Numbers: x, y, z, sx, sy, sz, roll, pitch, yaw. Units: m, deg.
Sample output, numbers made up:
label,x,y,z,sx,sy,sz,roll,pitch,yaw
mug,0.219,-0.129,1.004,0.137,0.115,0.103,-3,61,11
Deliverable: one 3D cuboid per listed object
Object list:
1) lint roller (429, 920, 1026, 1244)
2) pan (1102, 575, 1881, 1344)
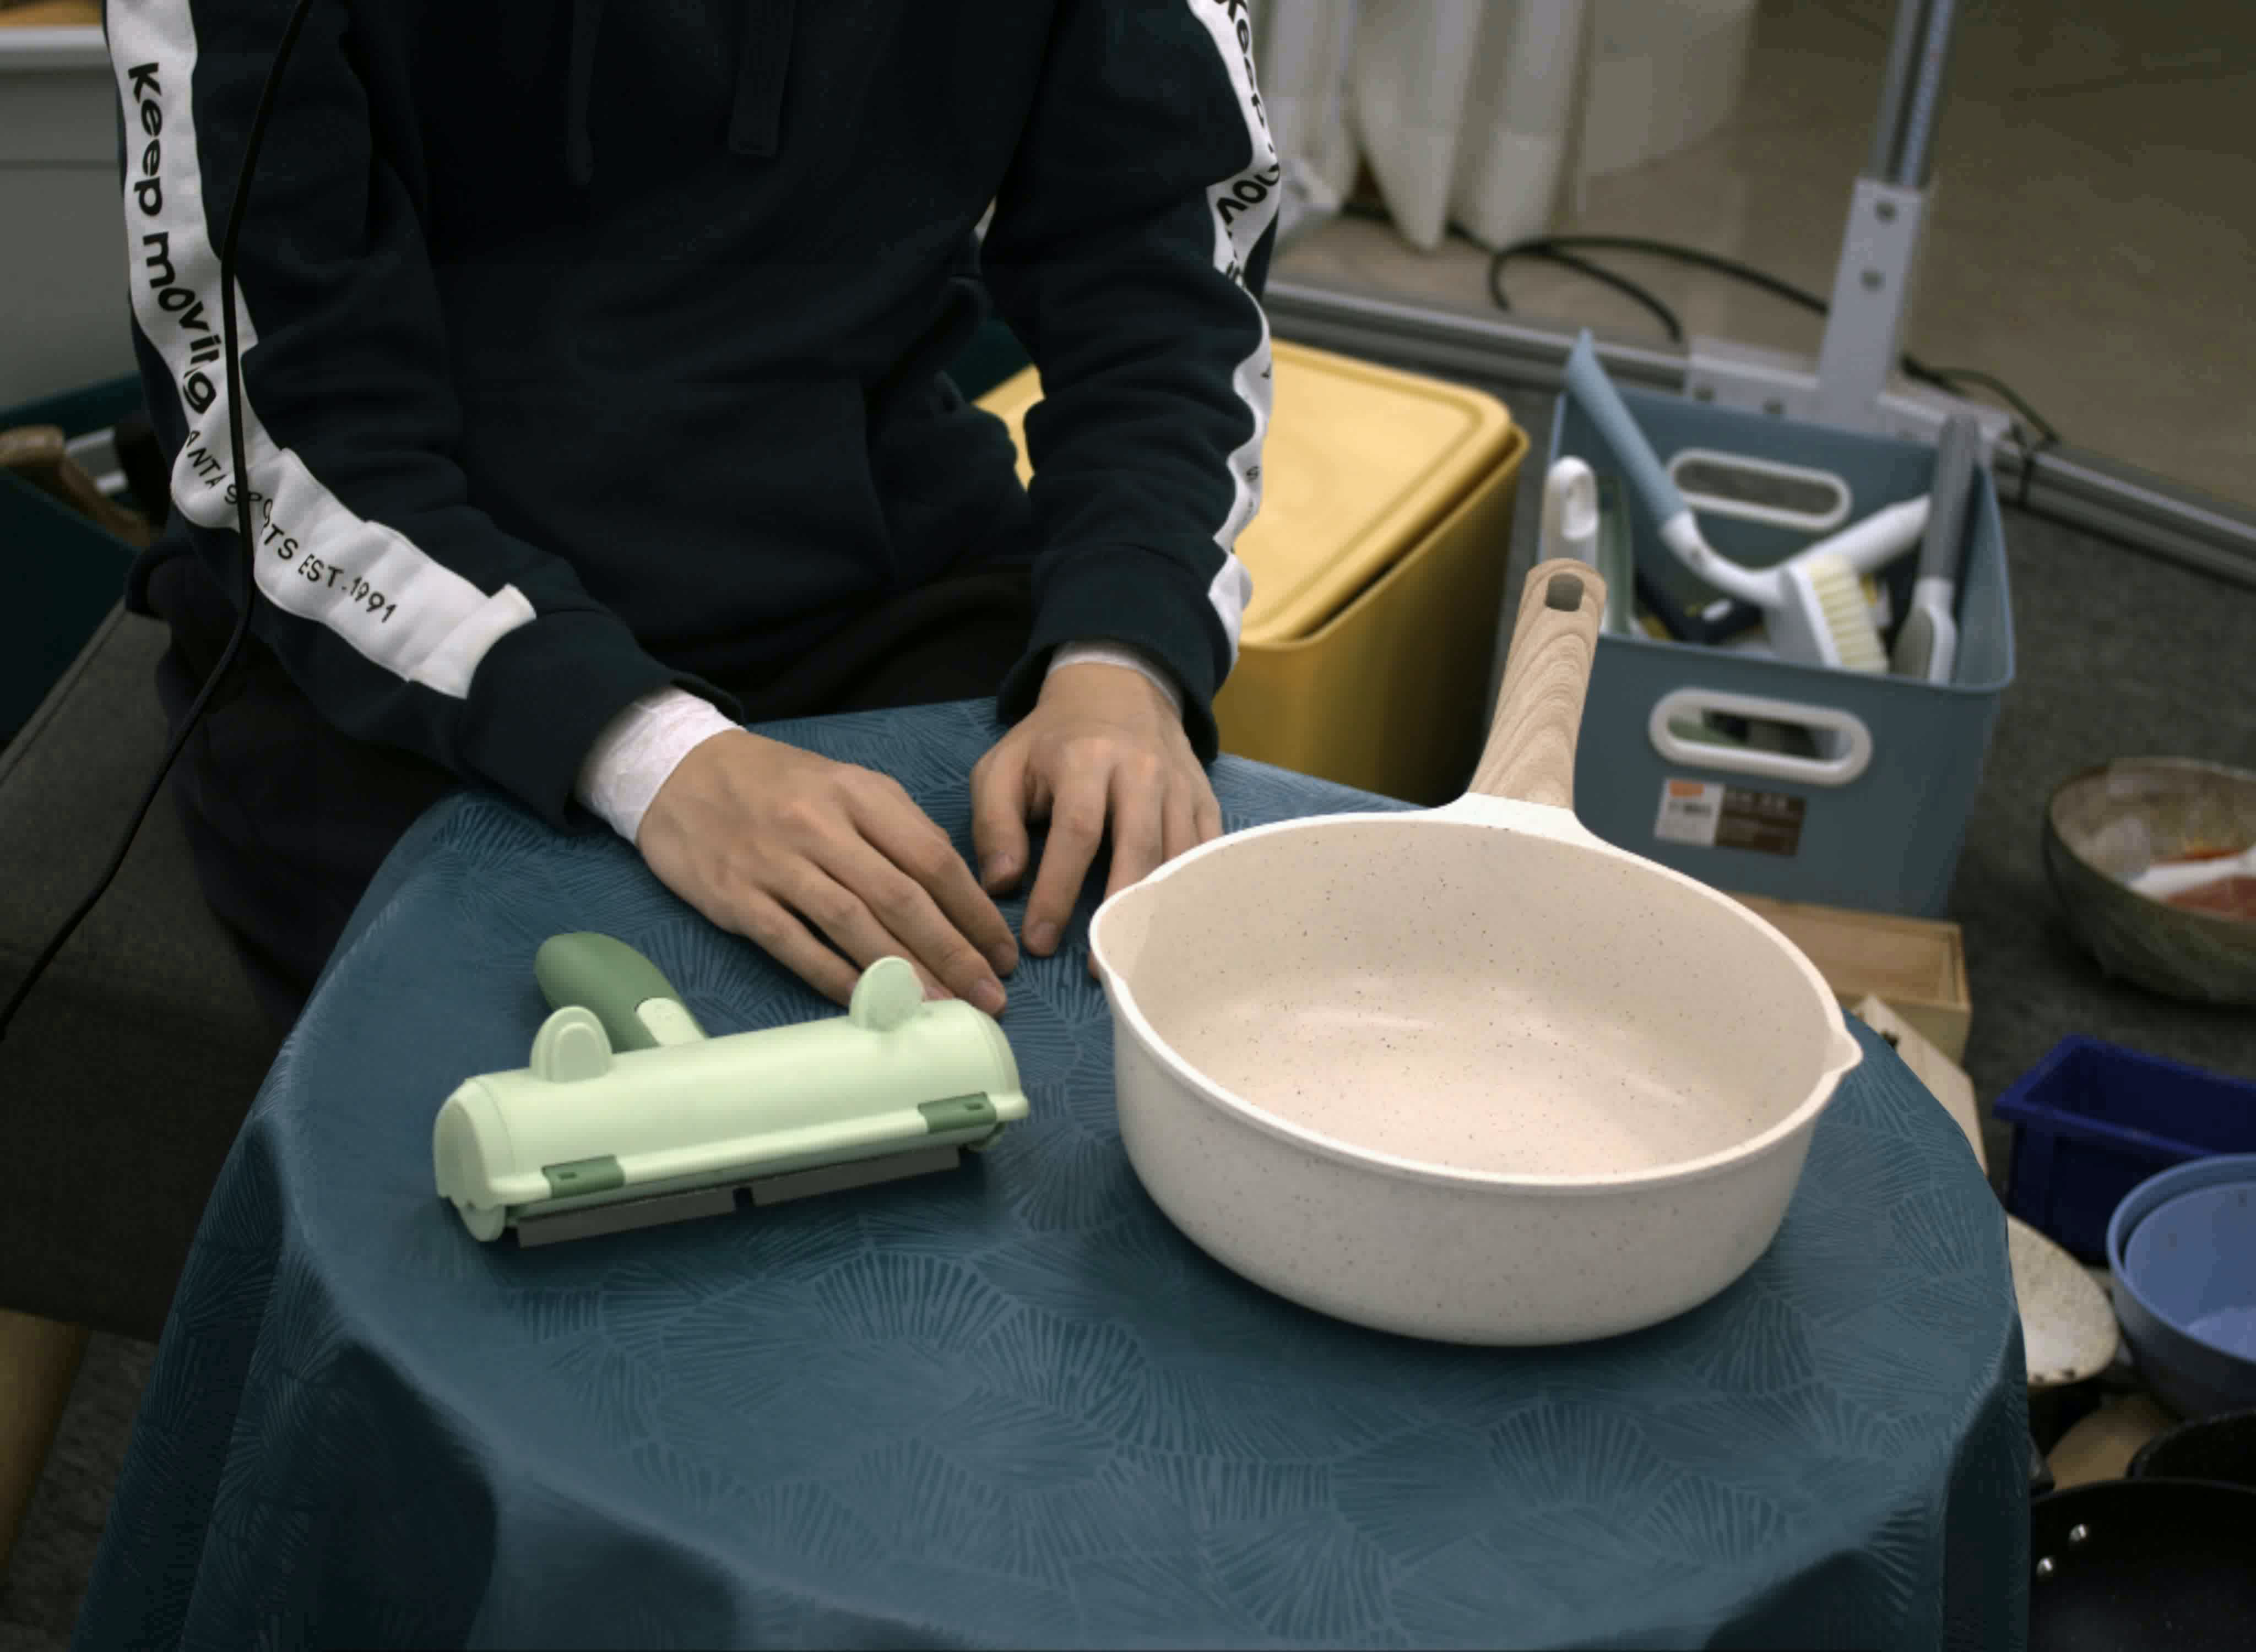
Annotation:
label,x,y,z,sx,sy,sz,roll,pitch,yaw
lint roller,-0.157,0.061,1.802,0.197,0.082,0.185,-8,36,-27
pan,0.133,0.043,1.878,0.263,0.101,0.436,8,27,6
